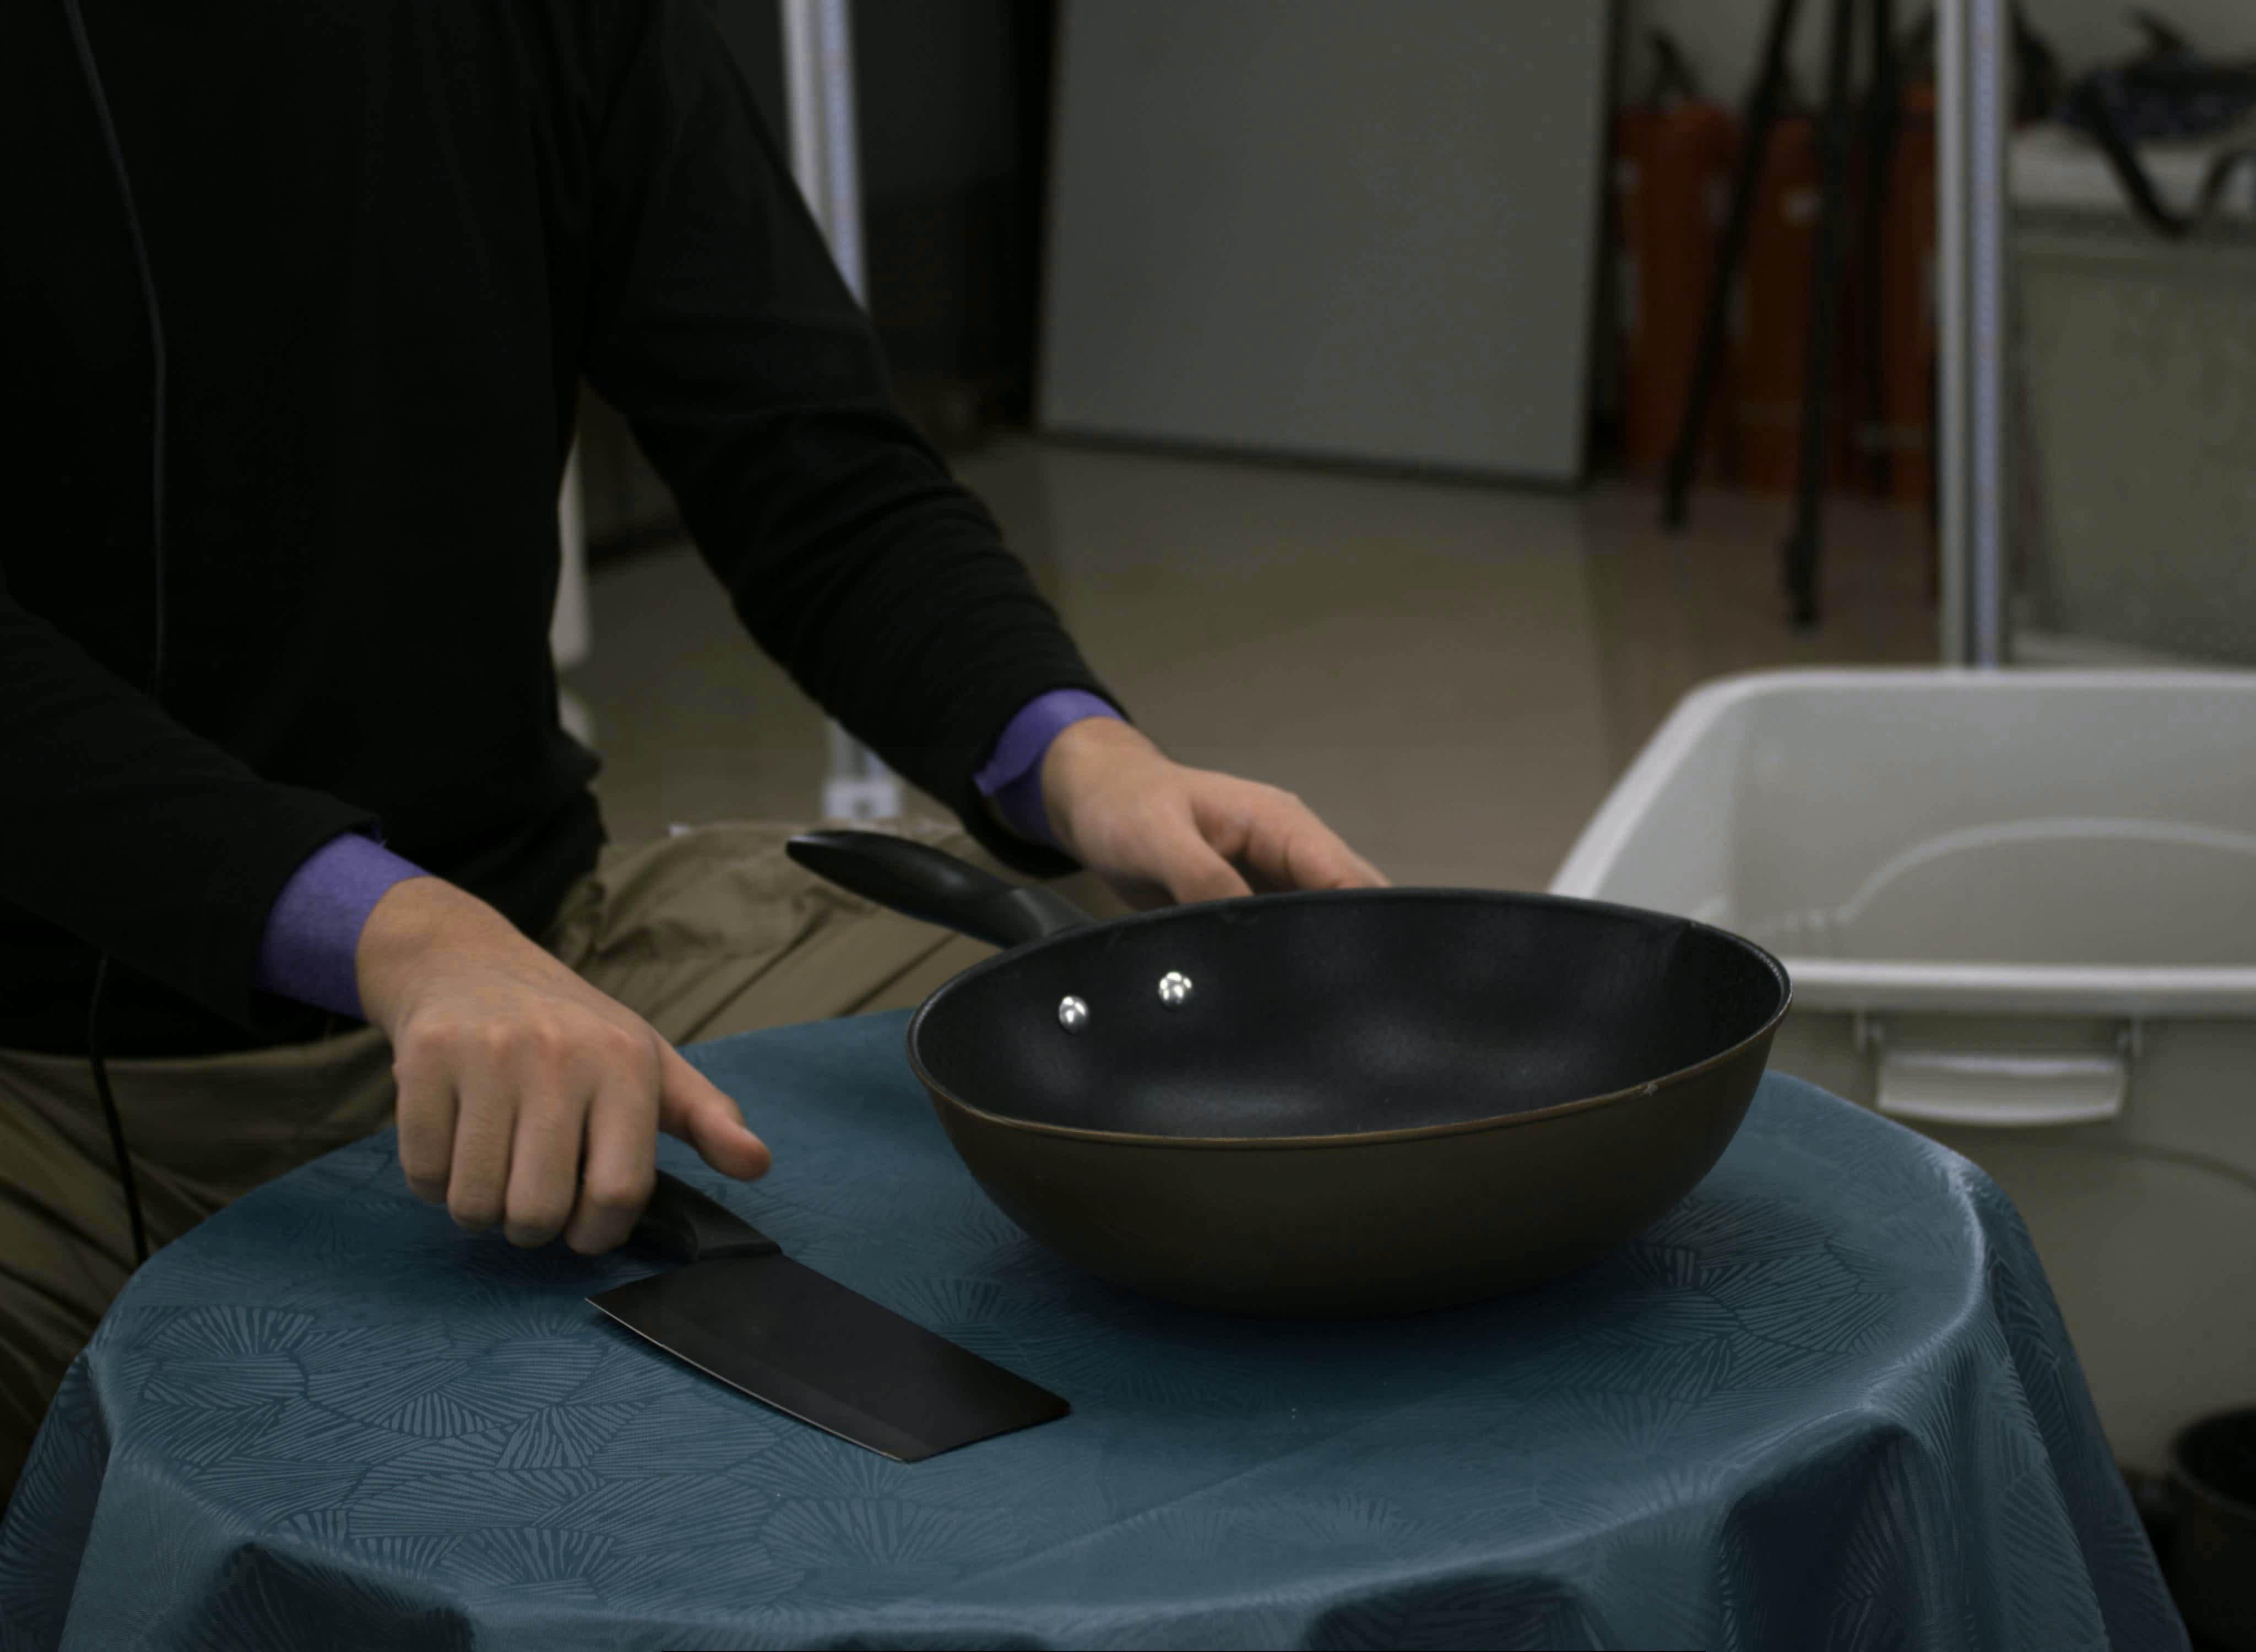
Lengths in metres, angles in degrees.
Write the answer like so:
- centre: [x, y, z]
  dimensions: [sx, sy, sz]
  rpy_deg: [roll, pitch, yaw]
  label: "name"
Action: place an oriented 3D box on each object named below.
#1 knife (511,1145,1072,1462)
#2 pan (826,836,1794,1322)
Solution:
- centre: [-0.120, 0.147, 1.680]
  dimensions: [0.079, 0.021, 0.305]
  rpy_deg: [-13, 18, -27]
  label: "knife"
- centre: [0.021, 0.078, 1.769]
  dimensions: [0.282, 0.088, 0.468]
  rpy_deg: [-13, 16, -31]
  label: "pan"
